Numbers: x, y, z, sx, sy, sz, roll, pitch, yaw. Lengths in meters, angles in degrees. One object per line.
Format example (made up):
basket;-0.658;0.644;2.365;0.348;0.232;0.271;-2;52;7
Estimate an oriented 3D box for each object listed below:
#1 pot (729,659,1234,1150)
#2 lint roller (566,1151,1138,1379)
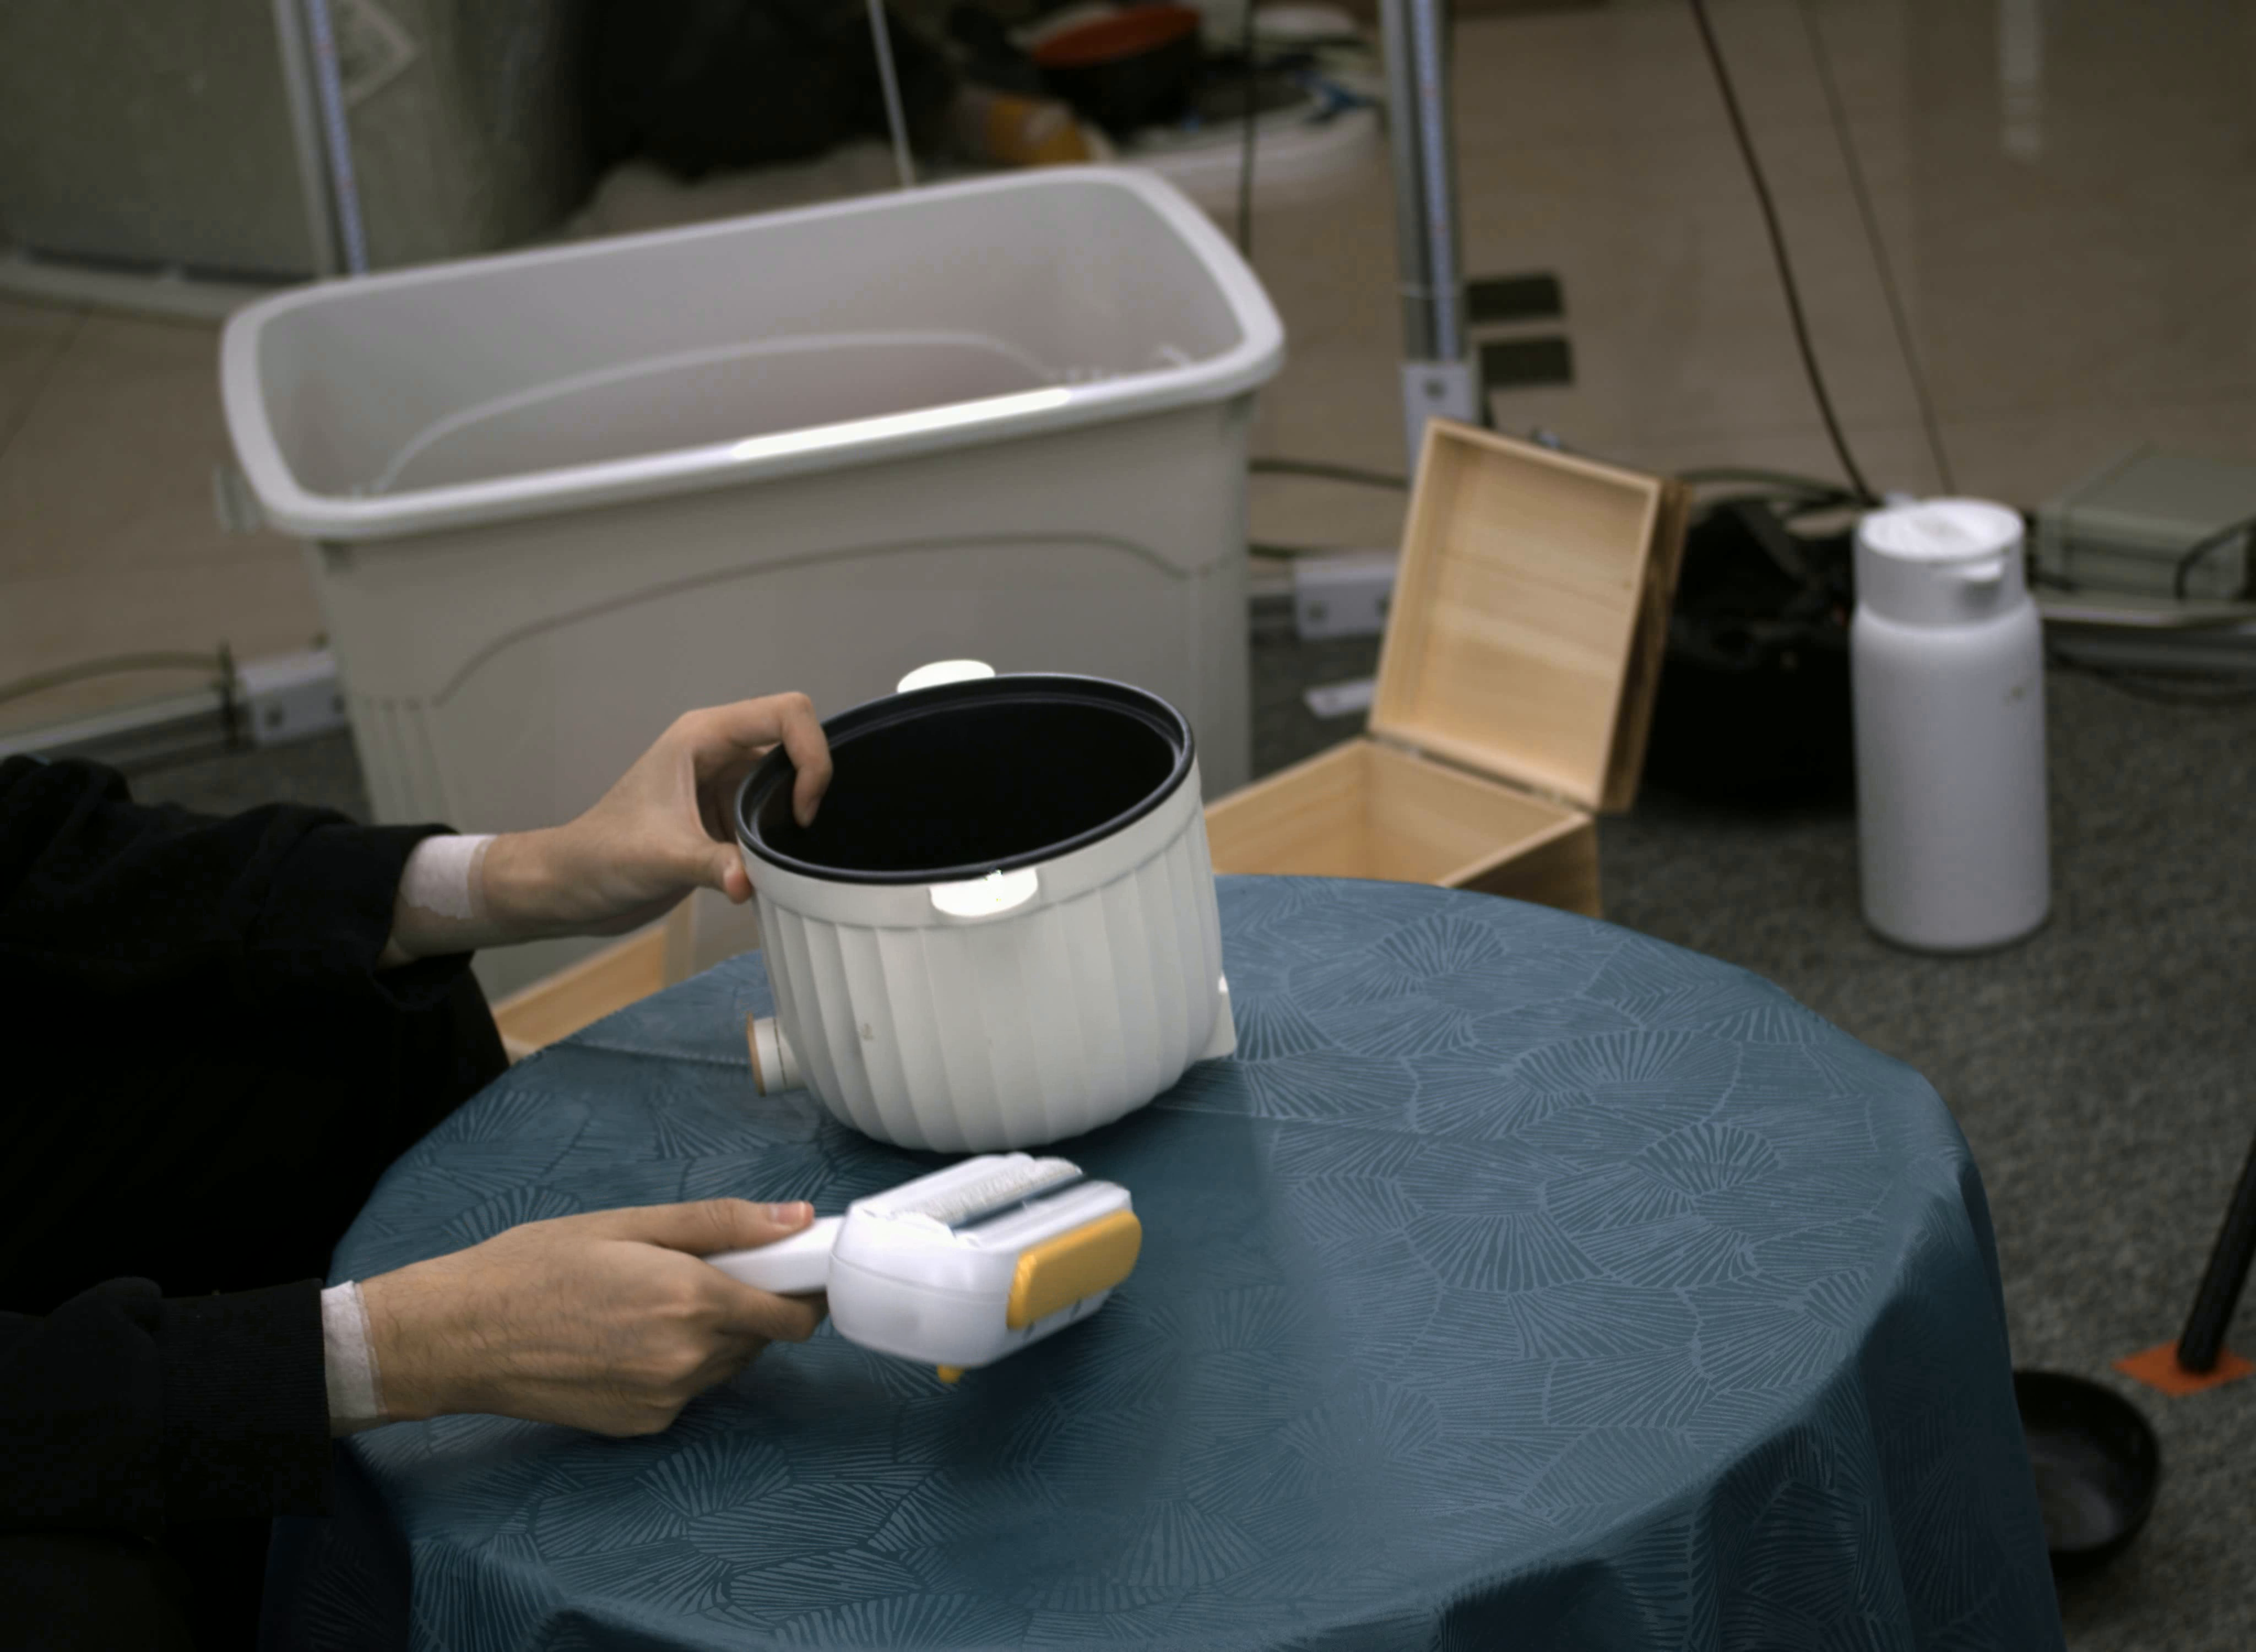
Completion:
pot;-0.060;0.038;2.198;0.190;0.145;0.237;-8;23;-3
lint roller;-0.109;0.152;2.008;0.192;0.075;0.192;4;9;20
